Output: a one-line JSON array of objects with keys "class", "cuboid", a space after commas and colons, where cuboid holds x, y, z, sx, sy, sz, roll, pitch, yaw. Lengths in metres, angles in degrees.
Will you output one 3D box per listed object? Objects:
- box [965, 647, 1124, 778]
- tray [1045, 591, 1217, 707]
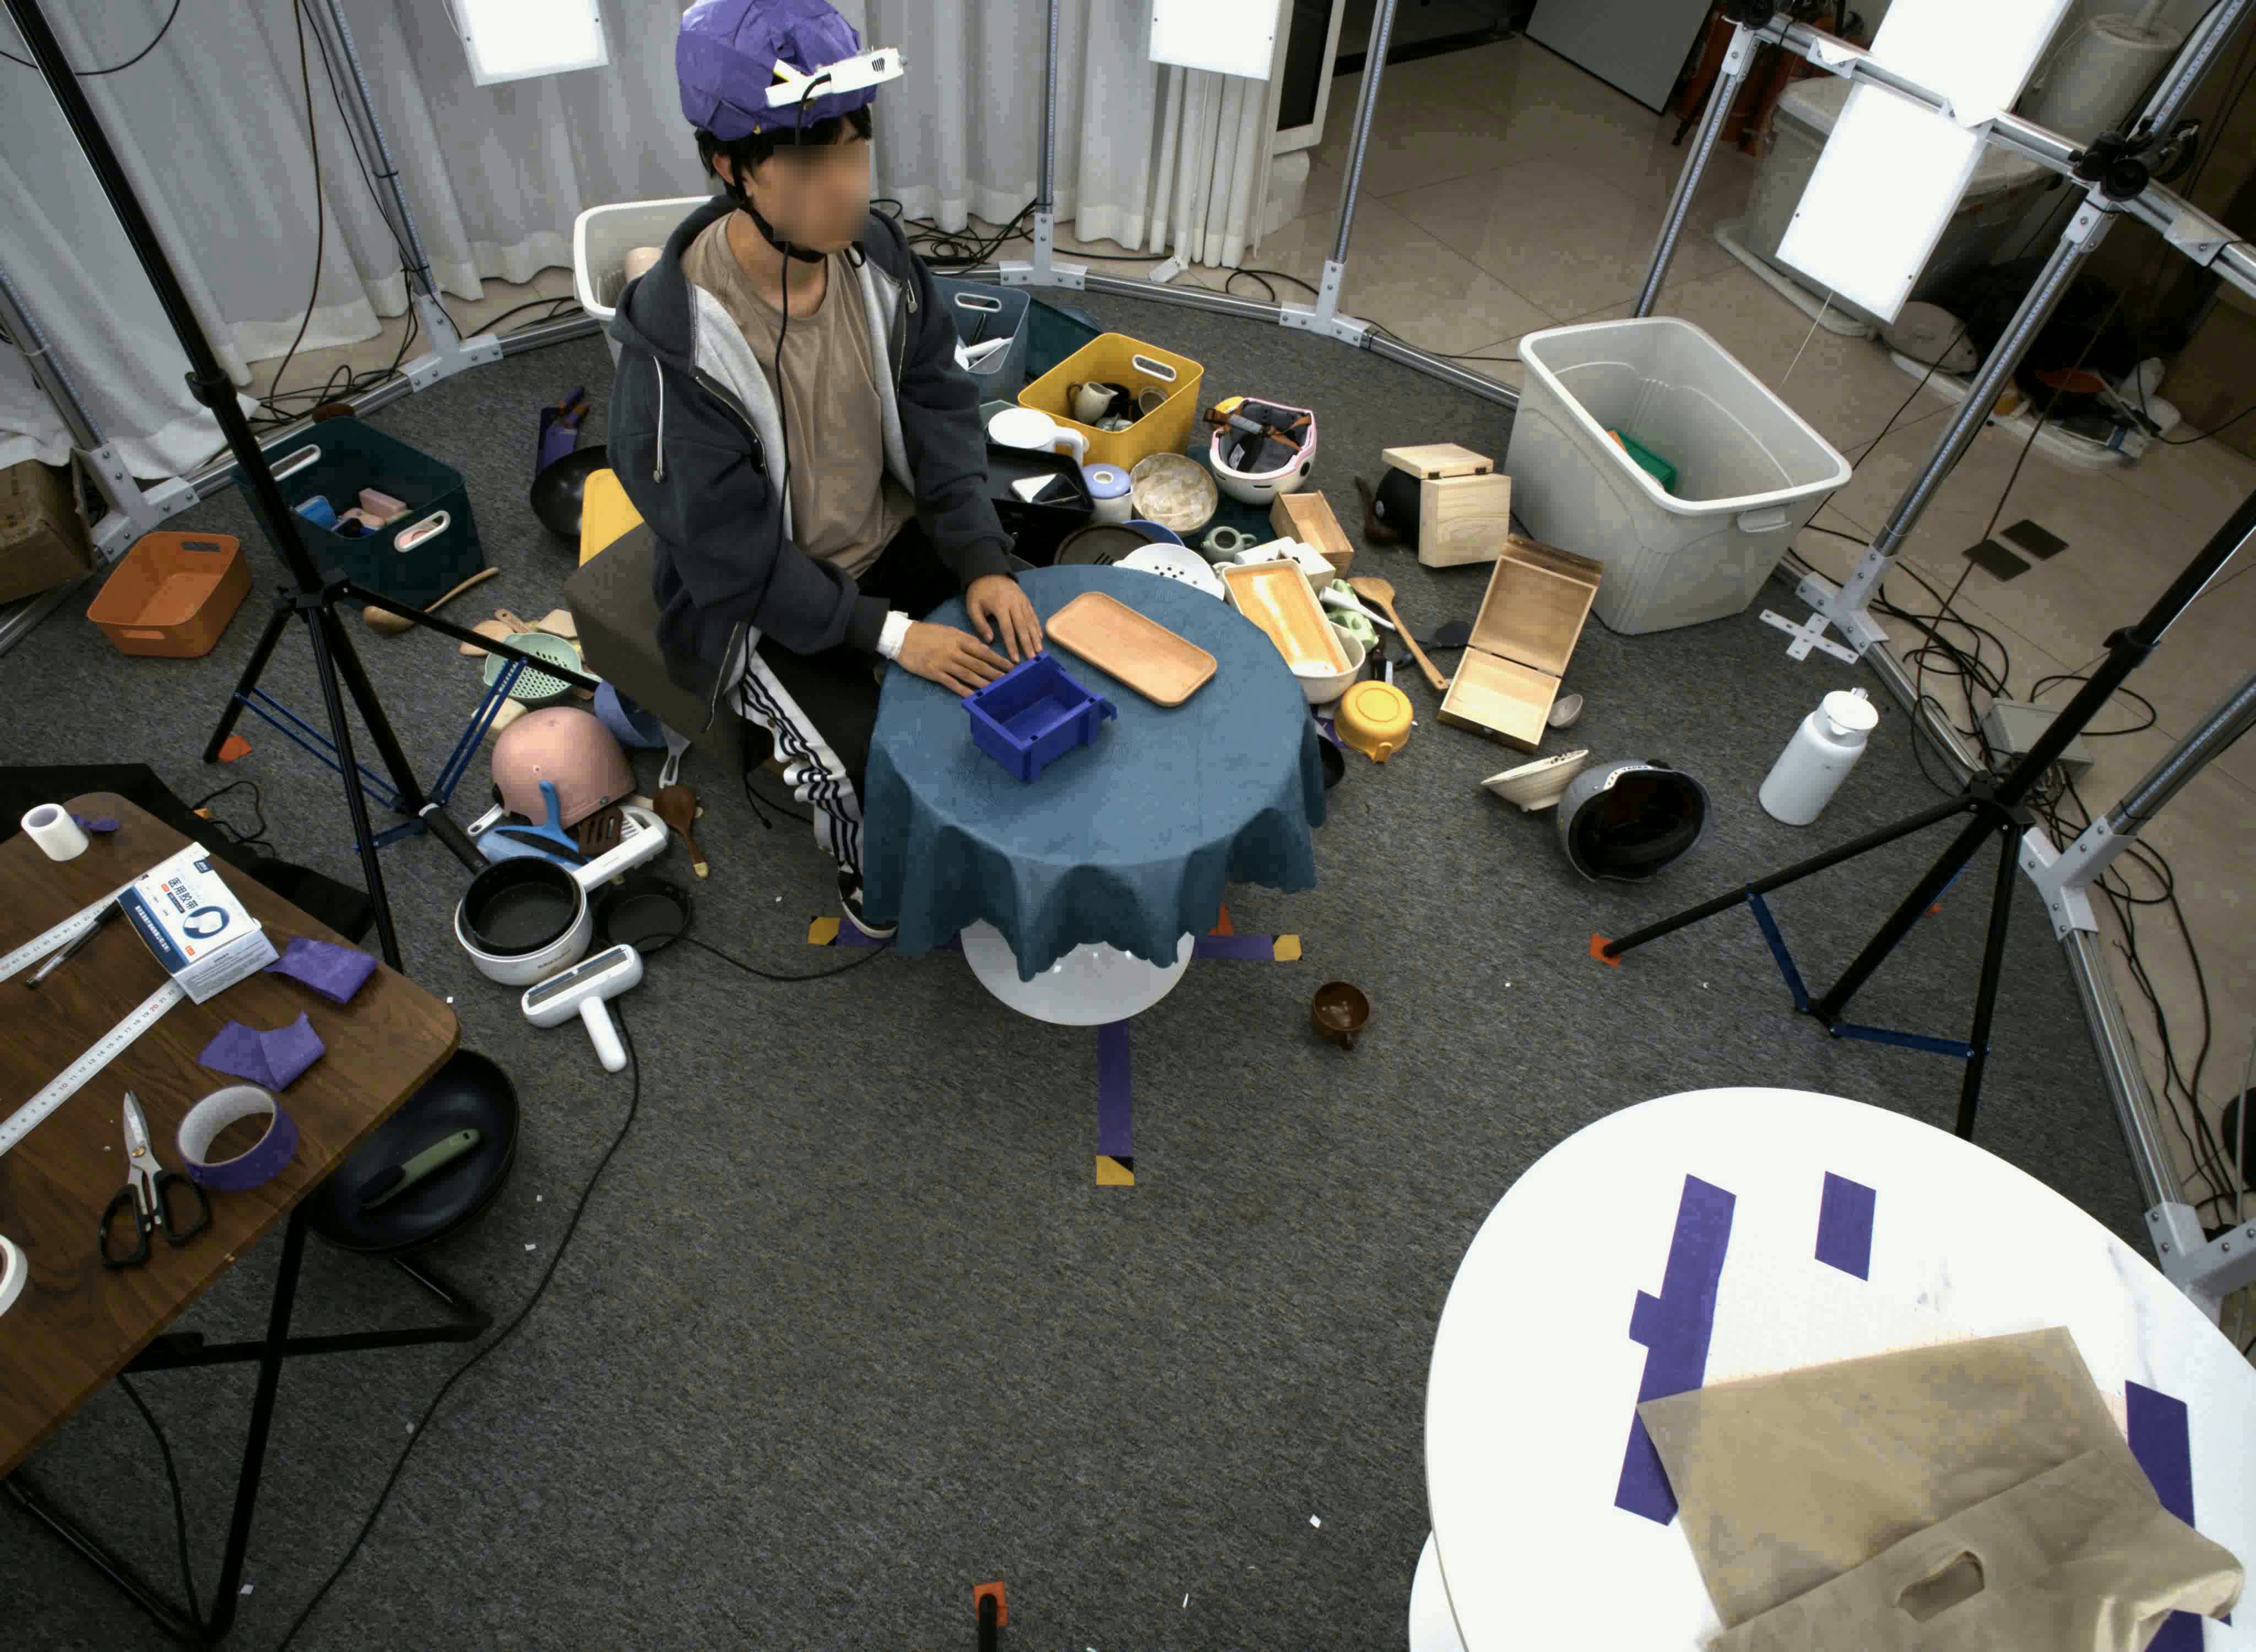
[{"class": "box", "cuboid": [-0.112, -0.159, 1.743, 0.181, 0.080, 0.126, -35, 59, -25]}, {"class": "tray", "cuboid": [0.003, -0.261, 1.882, 0.254, 0.022, 0.132, 33, 52, 23]}]
